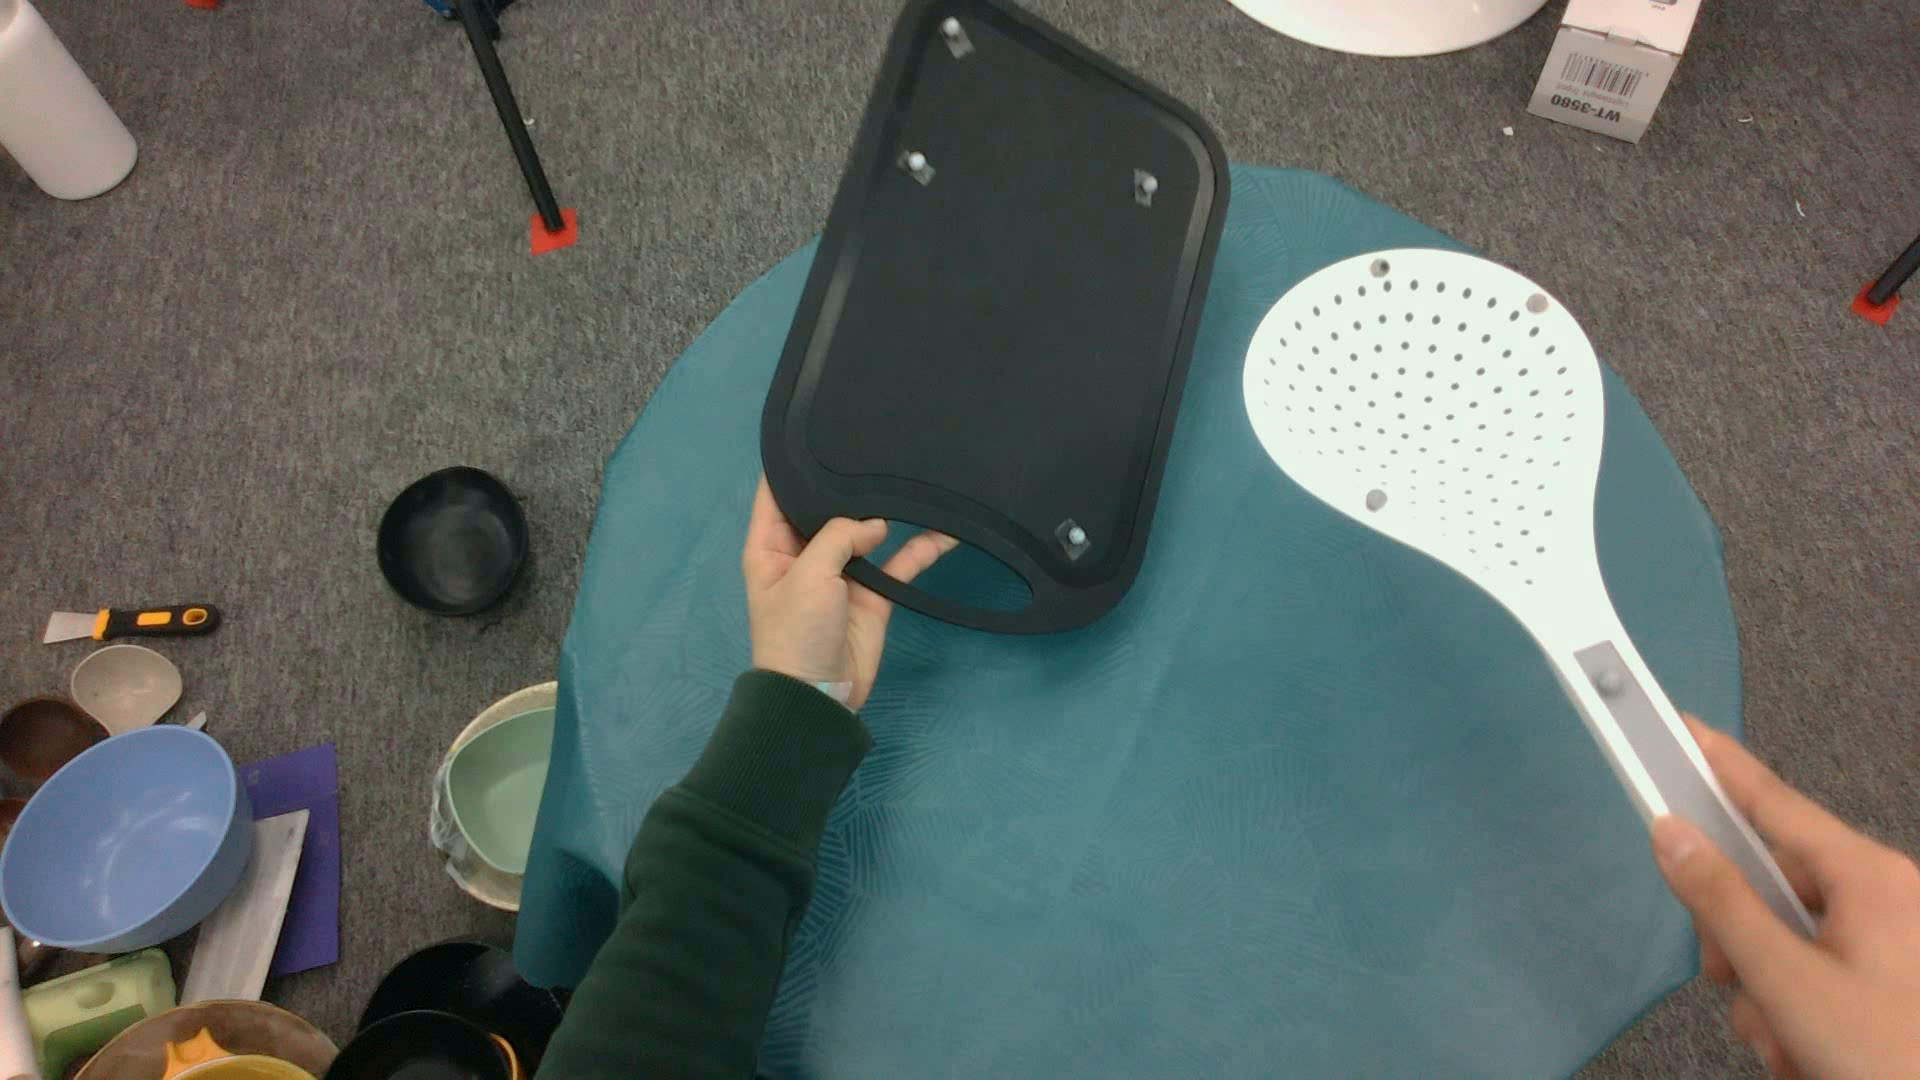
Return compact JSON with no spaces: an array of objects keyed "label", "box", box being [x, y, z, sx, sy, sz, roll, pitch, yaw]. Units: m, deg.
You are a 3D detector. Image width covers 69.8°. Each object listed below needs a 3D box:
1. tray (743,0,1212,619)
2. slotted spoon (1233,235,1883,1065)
[{"label":"tray","box":[0.020,-0.123,0.684,0.211,0.010,0.326,22,71,-22]},{"label":"slotted spoon","box":[0.214,0.017,0.508,0.136,0.045,0.351,-19,53,-3]}]
